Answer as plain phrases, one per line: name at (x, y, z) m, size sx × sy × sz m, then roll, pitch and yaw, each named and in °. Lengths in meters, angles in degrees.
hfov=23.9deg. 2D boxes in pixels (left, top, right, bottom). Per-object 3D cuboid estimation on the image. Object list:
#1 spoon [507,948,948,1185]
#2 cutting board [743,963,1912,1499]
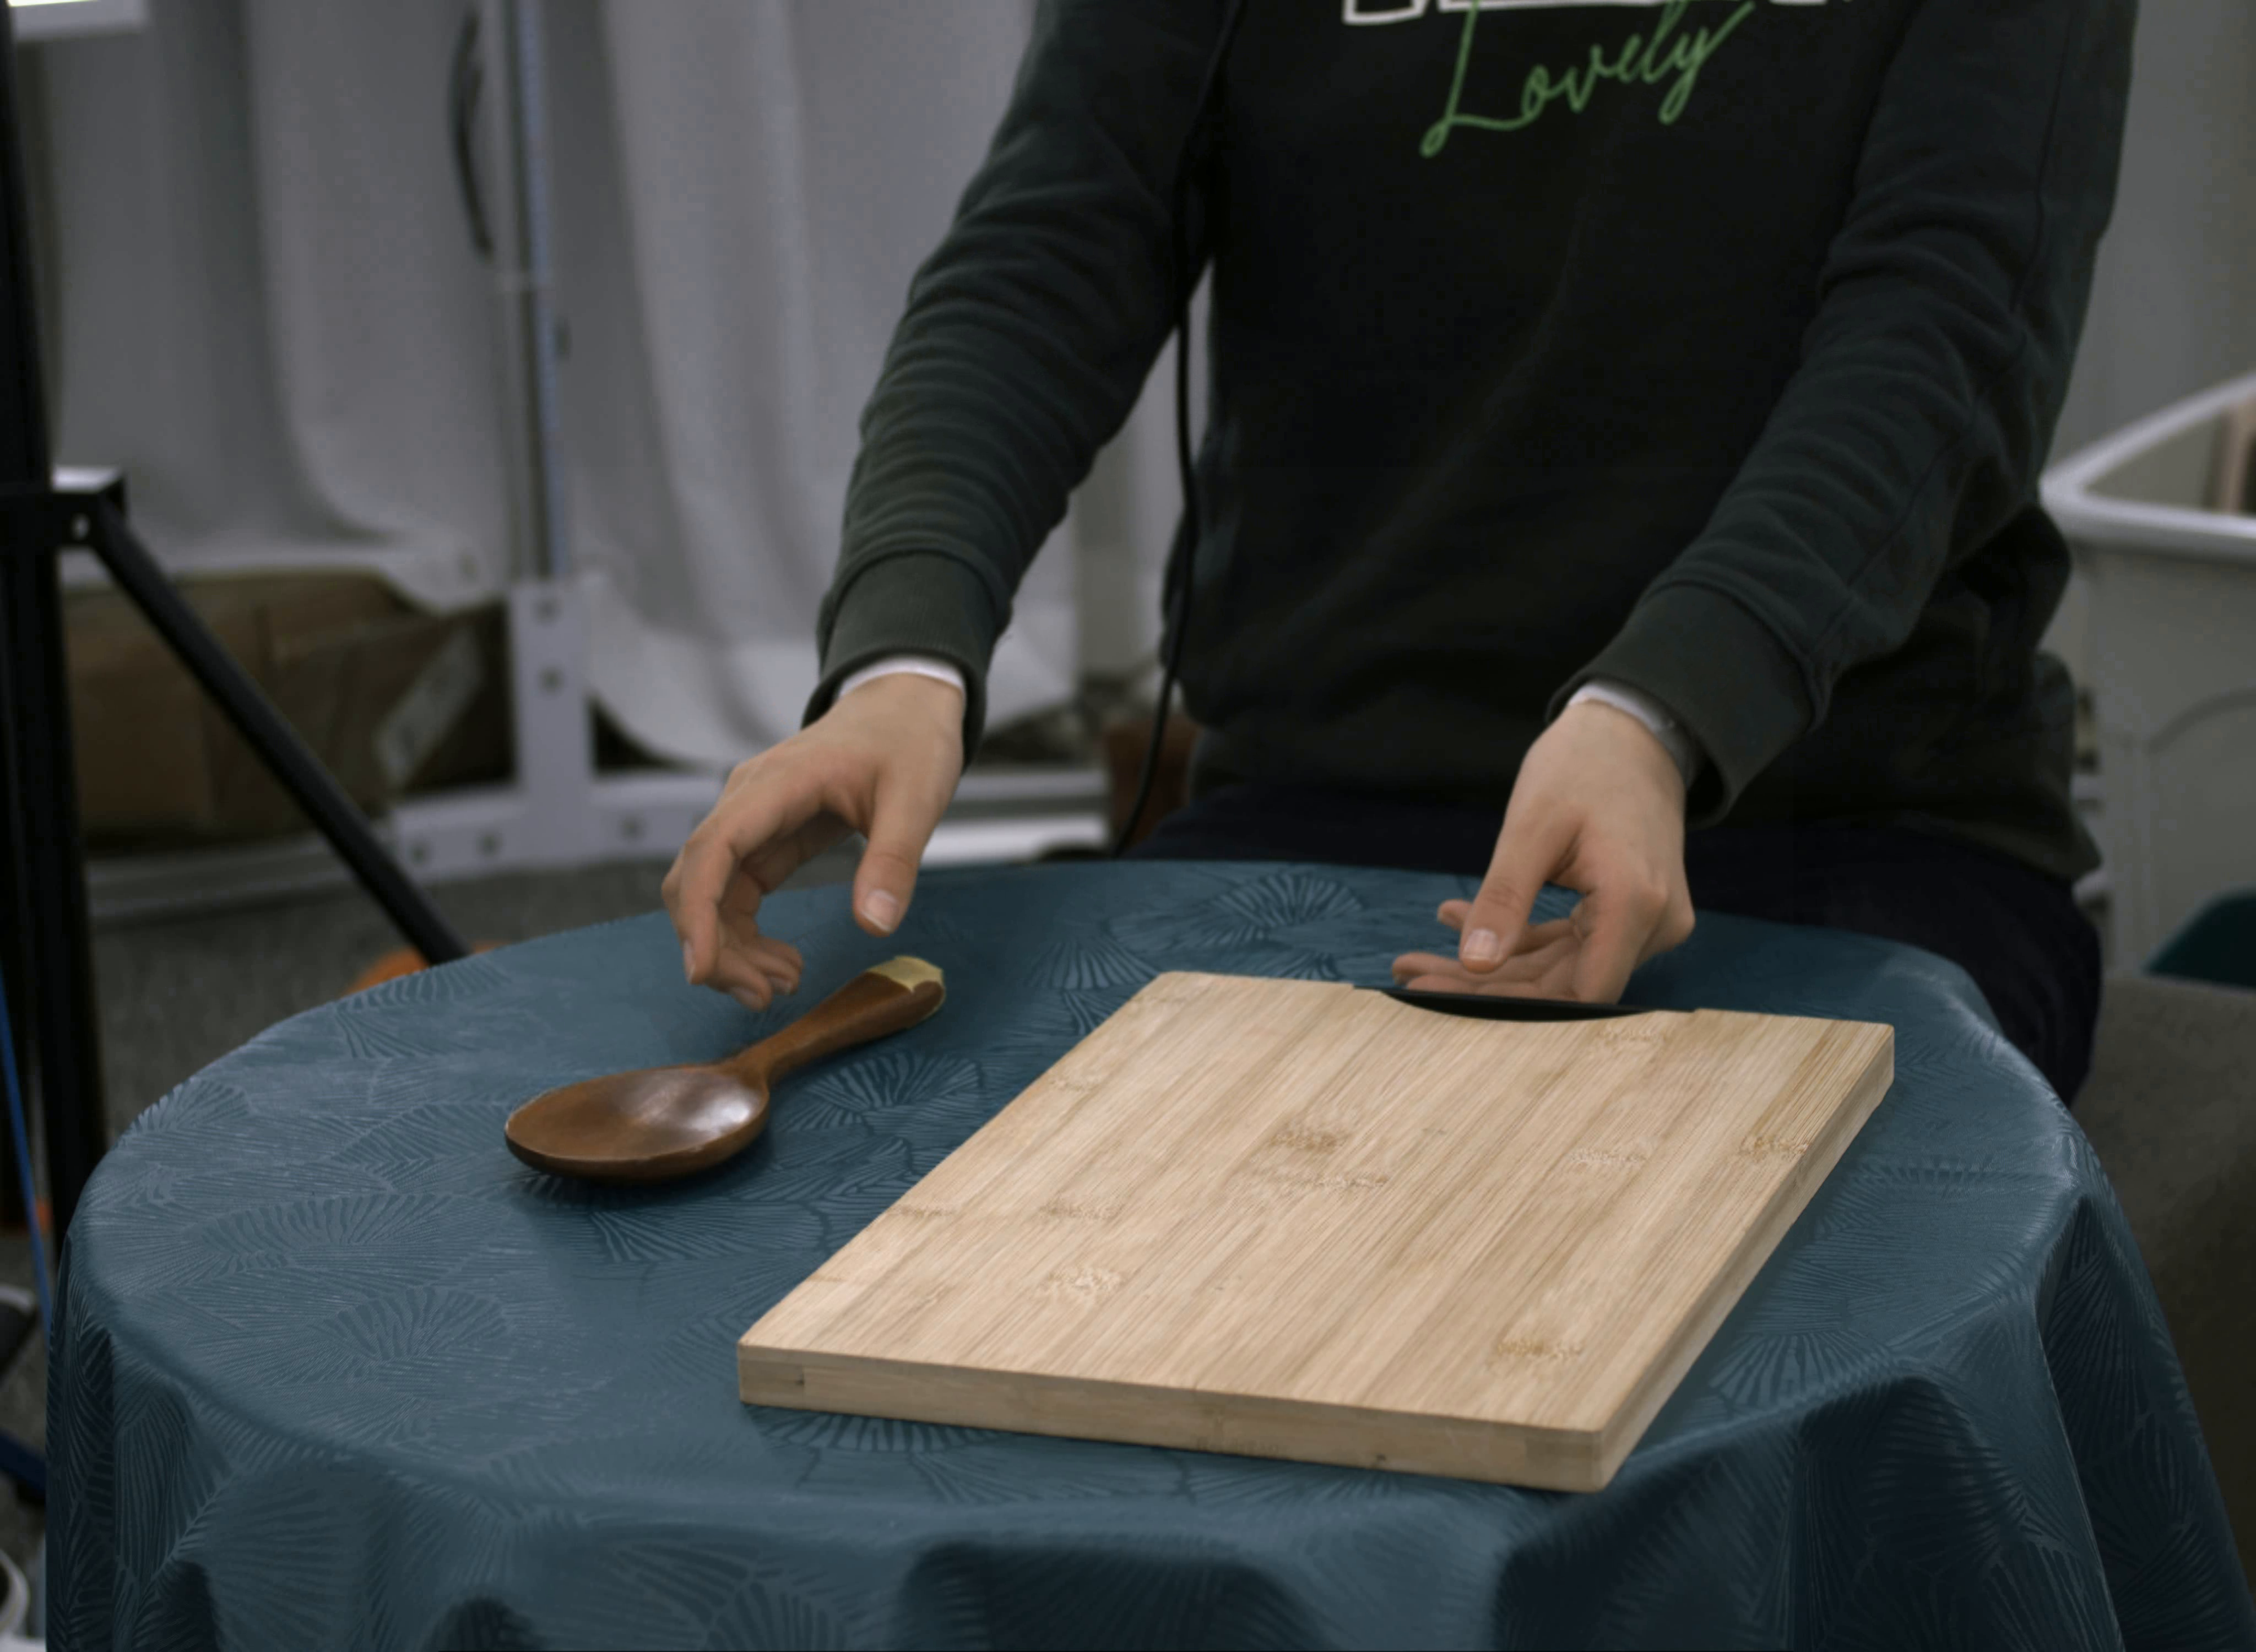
spoon at (-0.116, 0.076, 1.657) m, size 0.077 × 0.017 × 0.212 m, roll 4°, pitch 18°, yaw 29°
cutting board at (0.069, 0.107, 1.521) m, size 0.253 × 0.023 × 0.344 m, roll 4°, pitch 17°, yaw 20°
